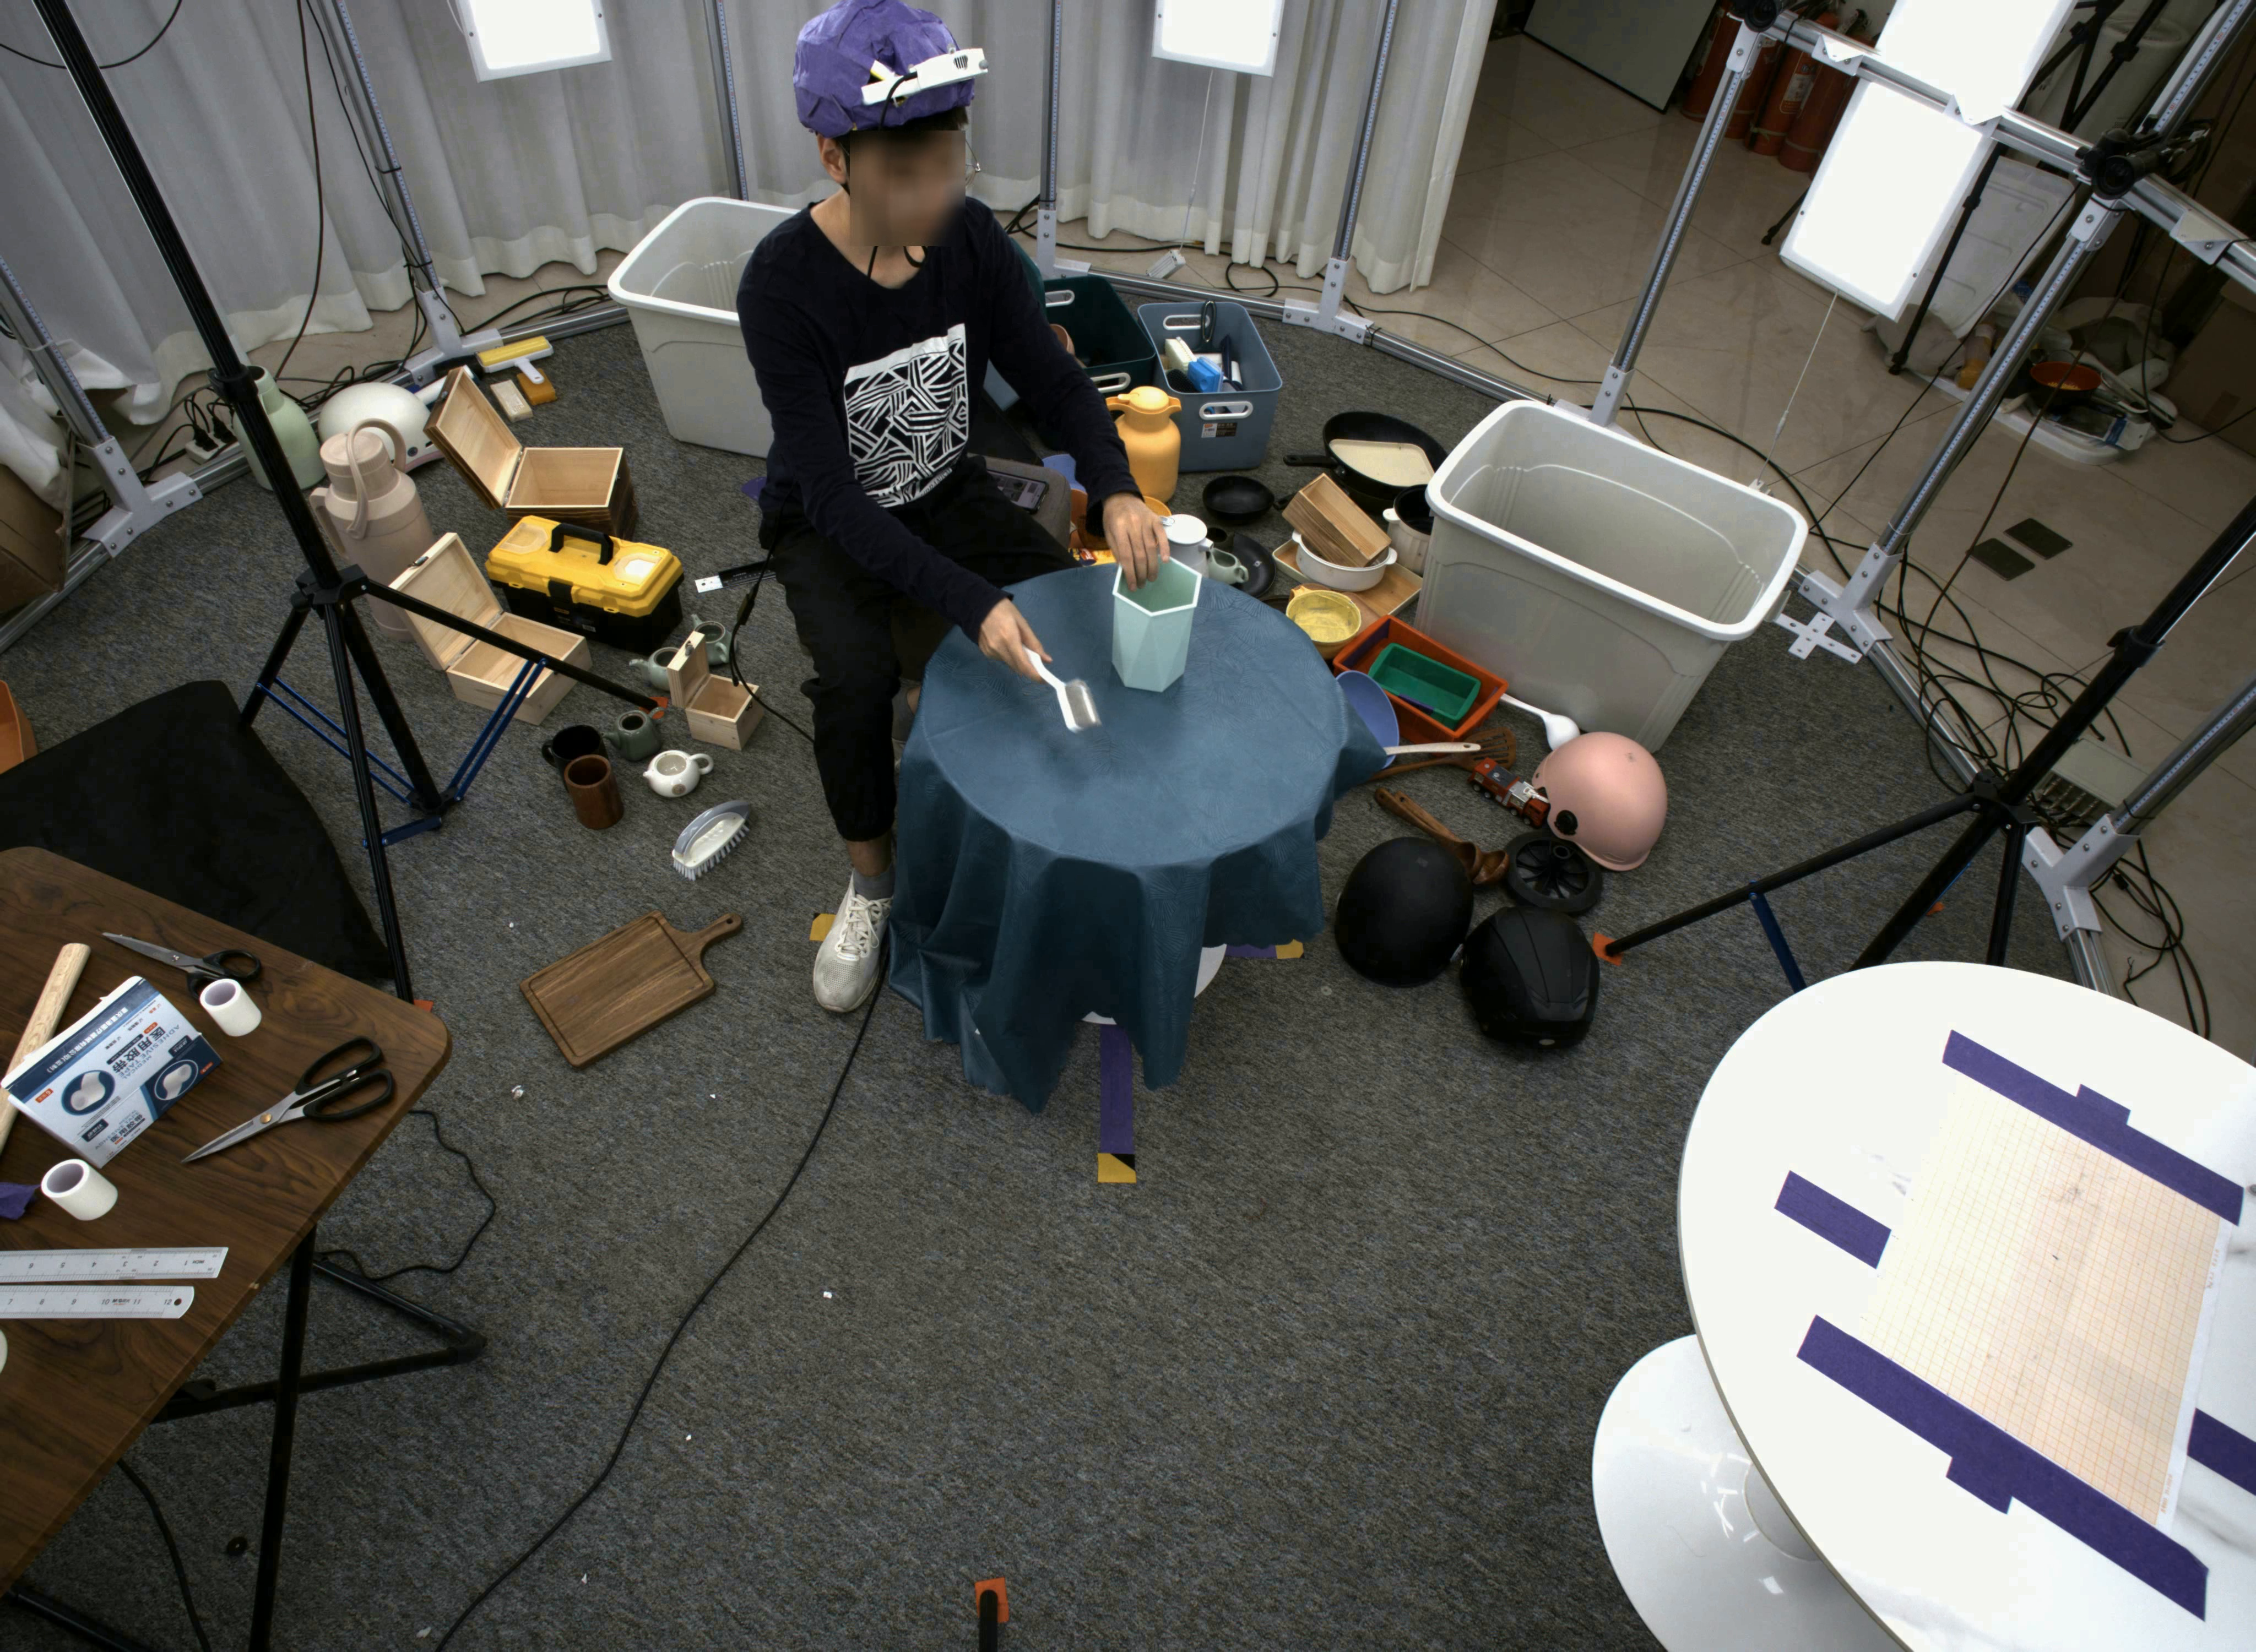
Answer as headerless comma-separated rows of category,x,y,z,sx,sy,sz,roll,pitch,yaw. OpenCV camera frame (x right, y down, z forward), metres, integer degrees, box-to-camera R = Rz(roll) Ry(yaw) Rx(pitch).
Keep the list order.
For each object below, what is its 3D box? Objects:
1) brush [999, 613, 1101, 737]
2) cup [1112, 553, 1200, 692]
brush,-0.107,-0.219,1.756,0.034,0.049,0.248,5,45,-48
cup,0.036,-0.281,1.809,0.115,0.159,0.134,6,48,3
